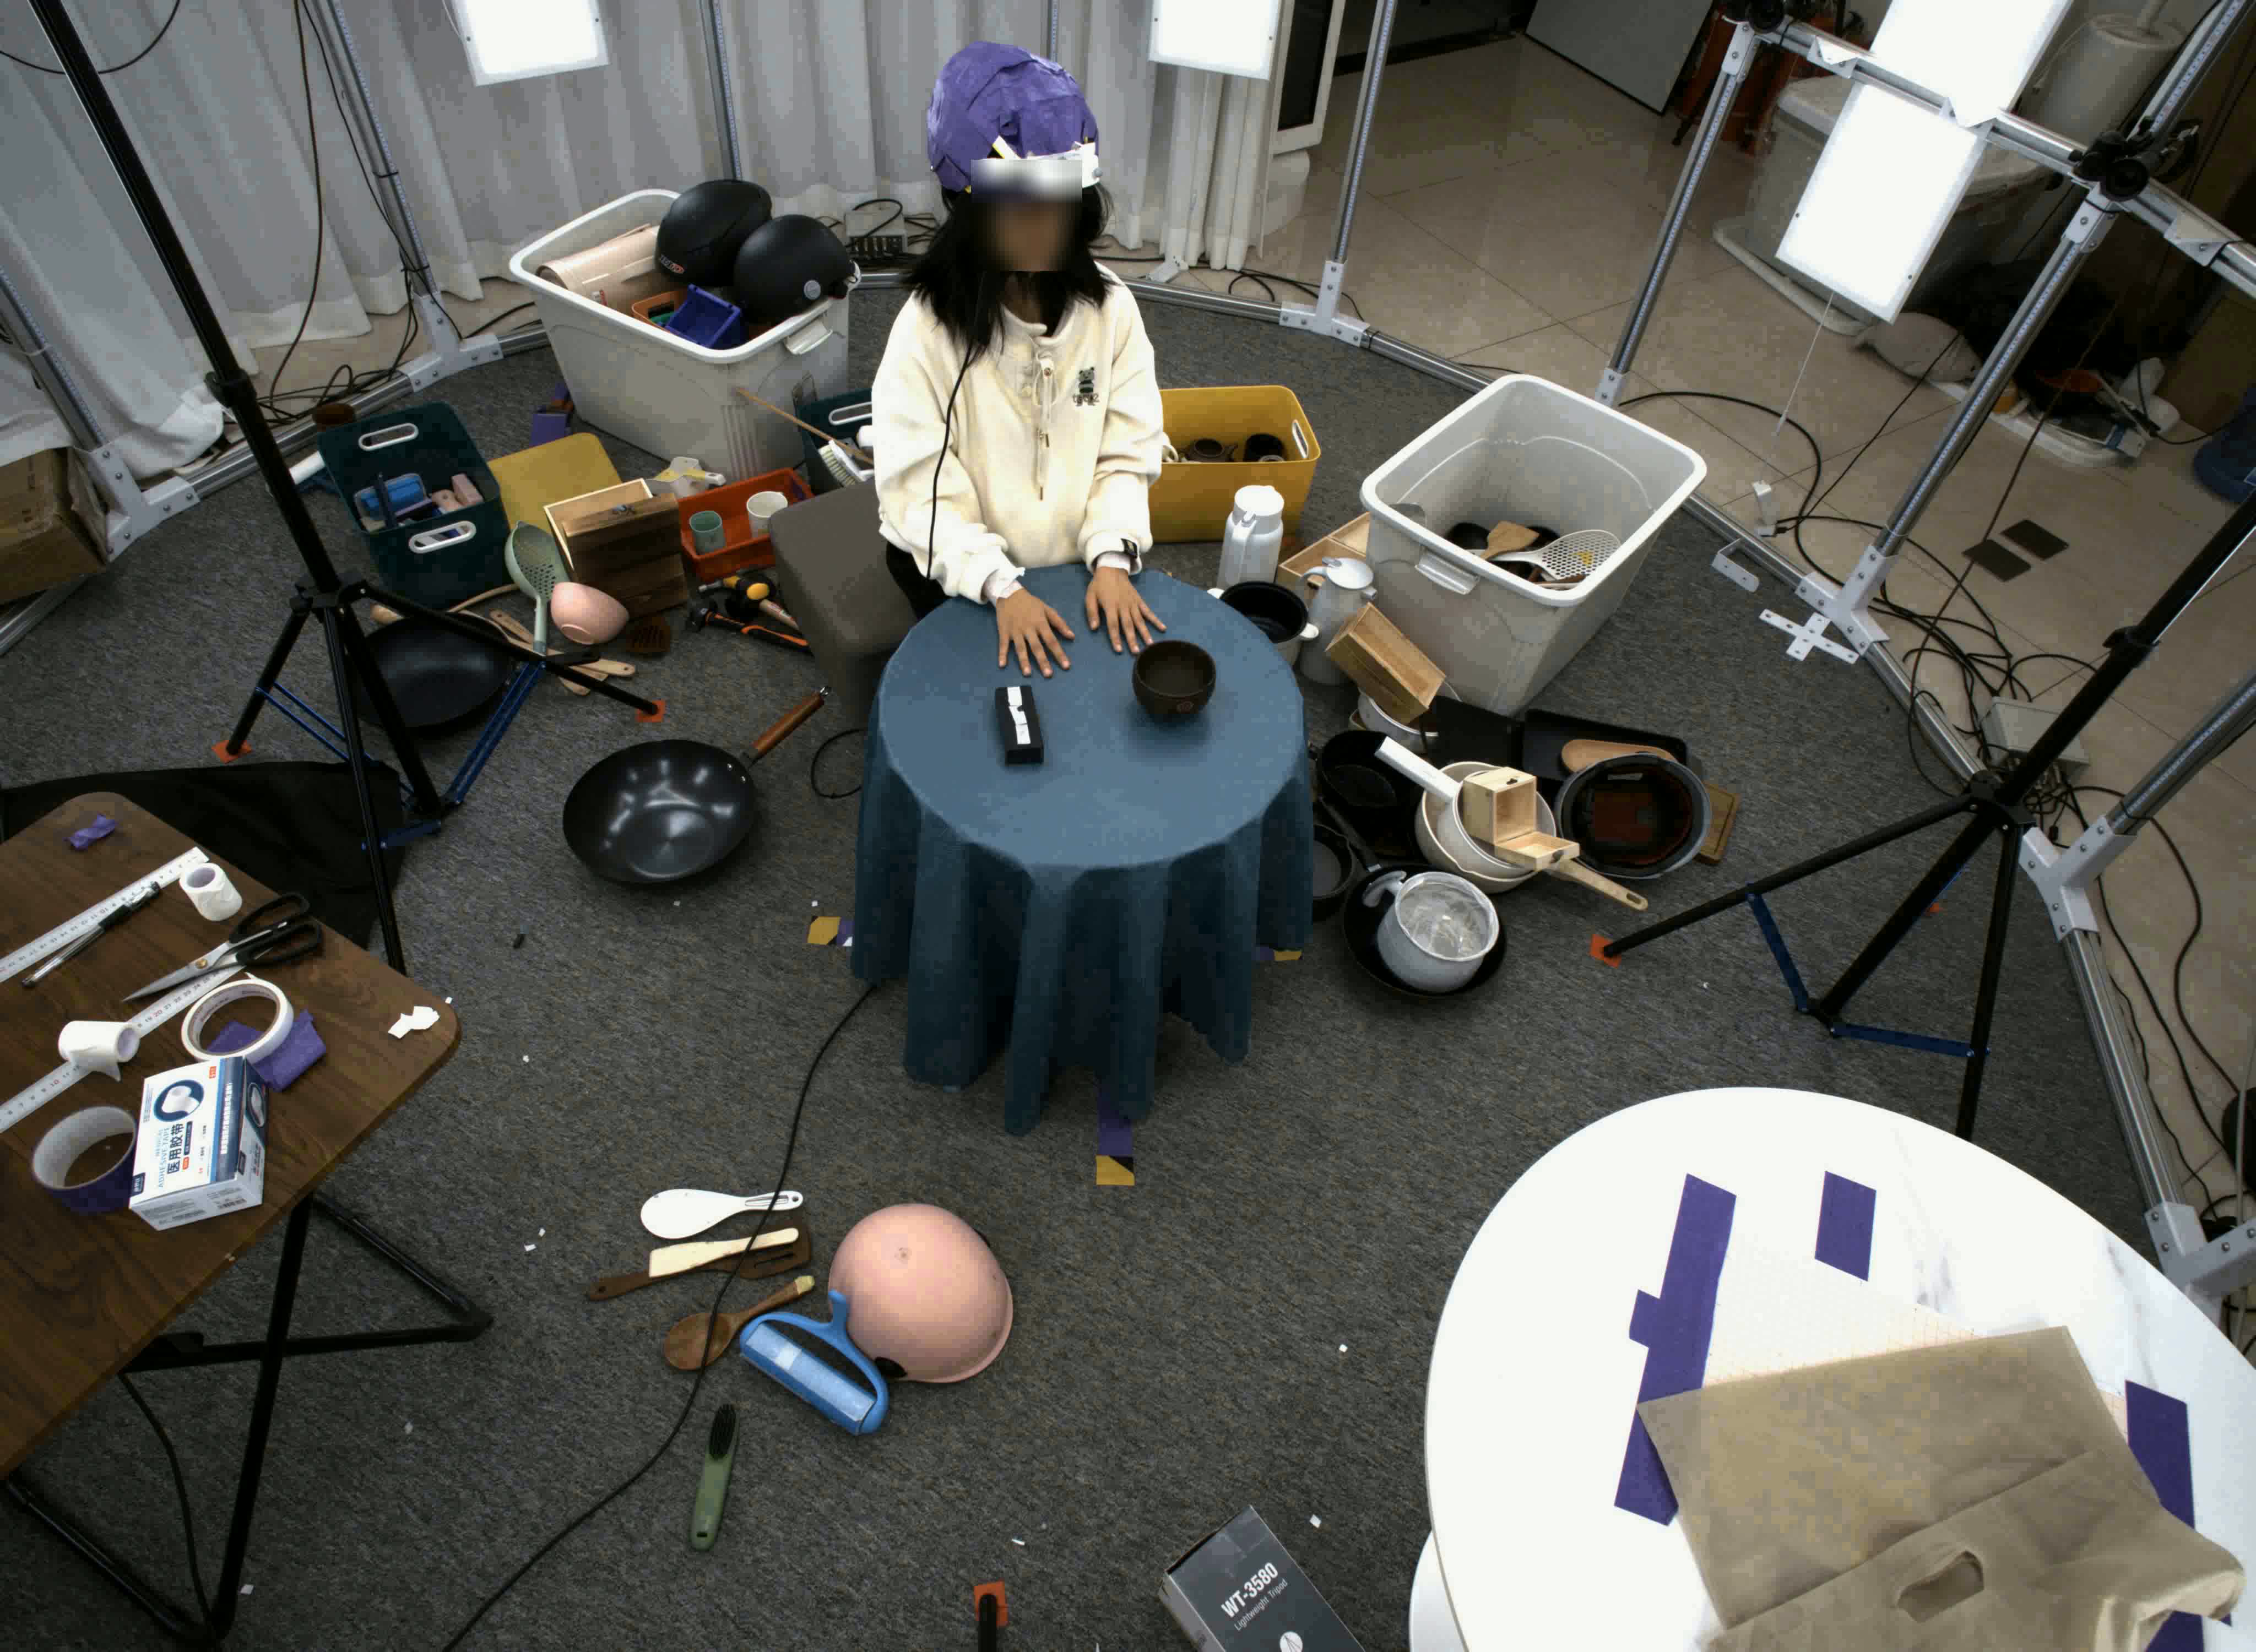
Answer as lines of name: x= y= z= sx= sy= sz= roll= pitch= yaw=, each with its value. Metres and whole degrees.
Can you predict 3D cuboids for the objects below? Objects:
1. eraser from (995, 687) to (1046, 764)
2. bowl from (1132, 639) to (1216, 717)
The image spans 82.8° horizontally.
eraser: x=-0.149 y=-0.138 z=1.763 sx=0.053 sy=0.030 sz=0.129 roll=-6 pitch=48 yaw=-10
bowl: x=0.063 y=-0.199 z=1.801 sx=0.118 sy=0.068 sz=0.121 roll=1 pitch=49 yaw=-2
